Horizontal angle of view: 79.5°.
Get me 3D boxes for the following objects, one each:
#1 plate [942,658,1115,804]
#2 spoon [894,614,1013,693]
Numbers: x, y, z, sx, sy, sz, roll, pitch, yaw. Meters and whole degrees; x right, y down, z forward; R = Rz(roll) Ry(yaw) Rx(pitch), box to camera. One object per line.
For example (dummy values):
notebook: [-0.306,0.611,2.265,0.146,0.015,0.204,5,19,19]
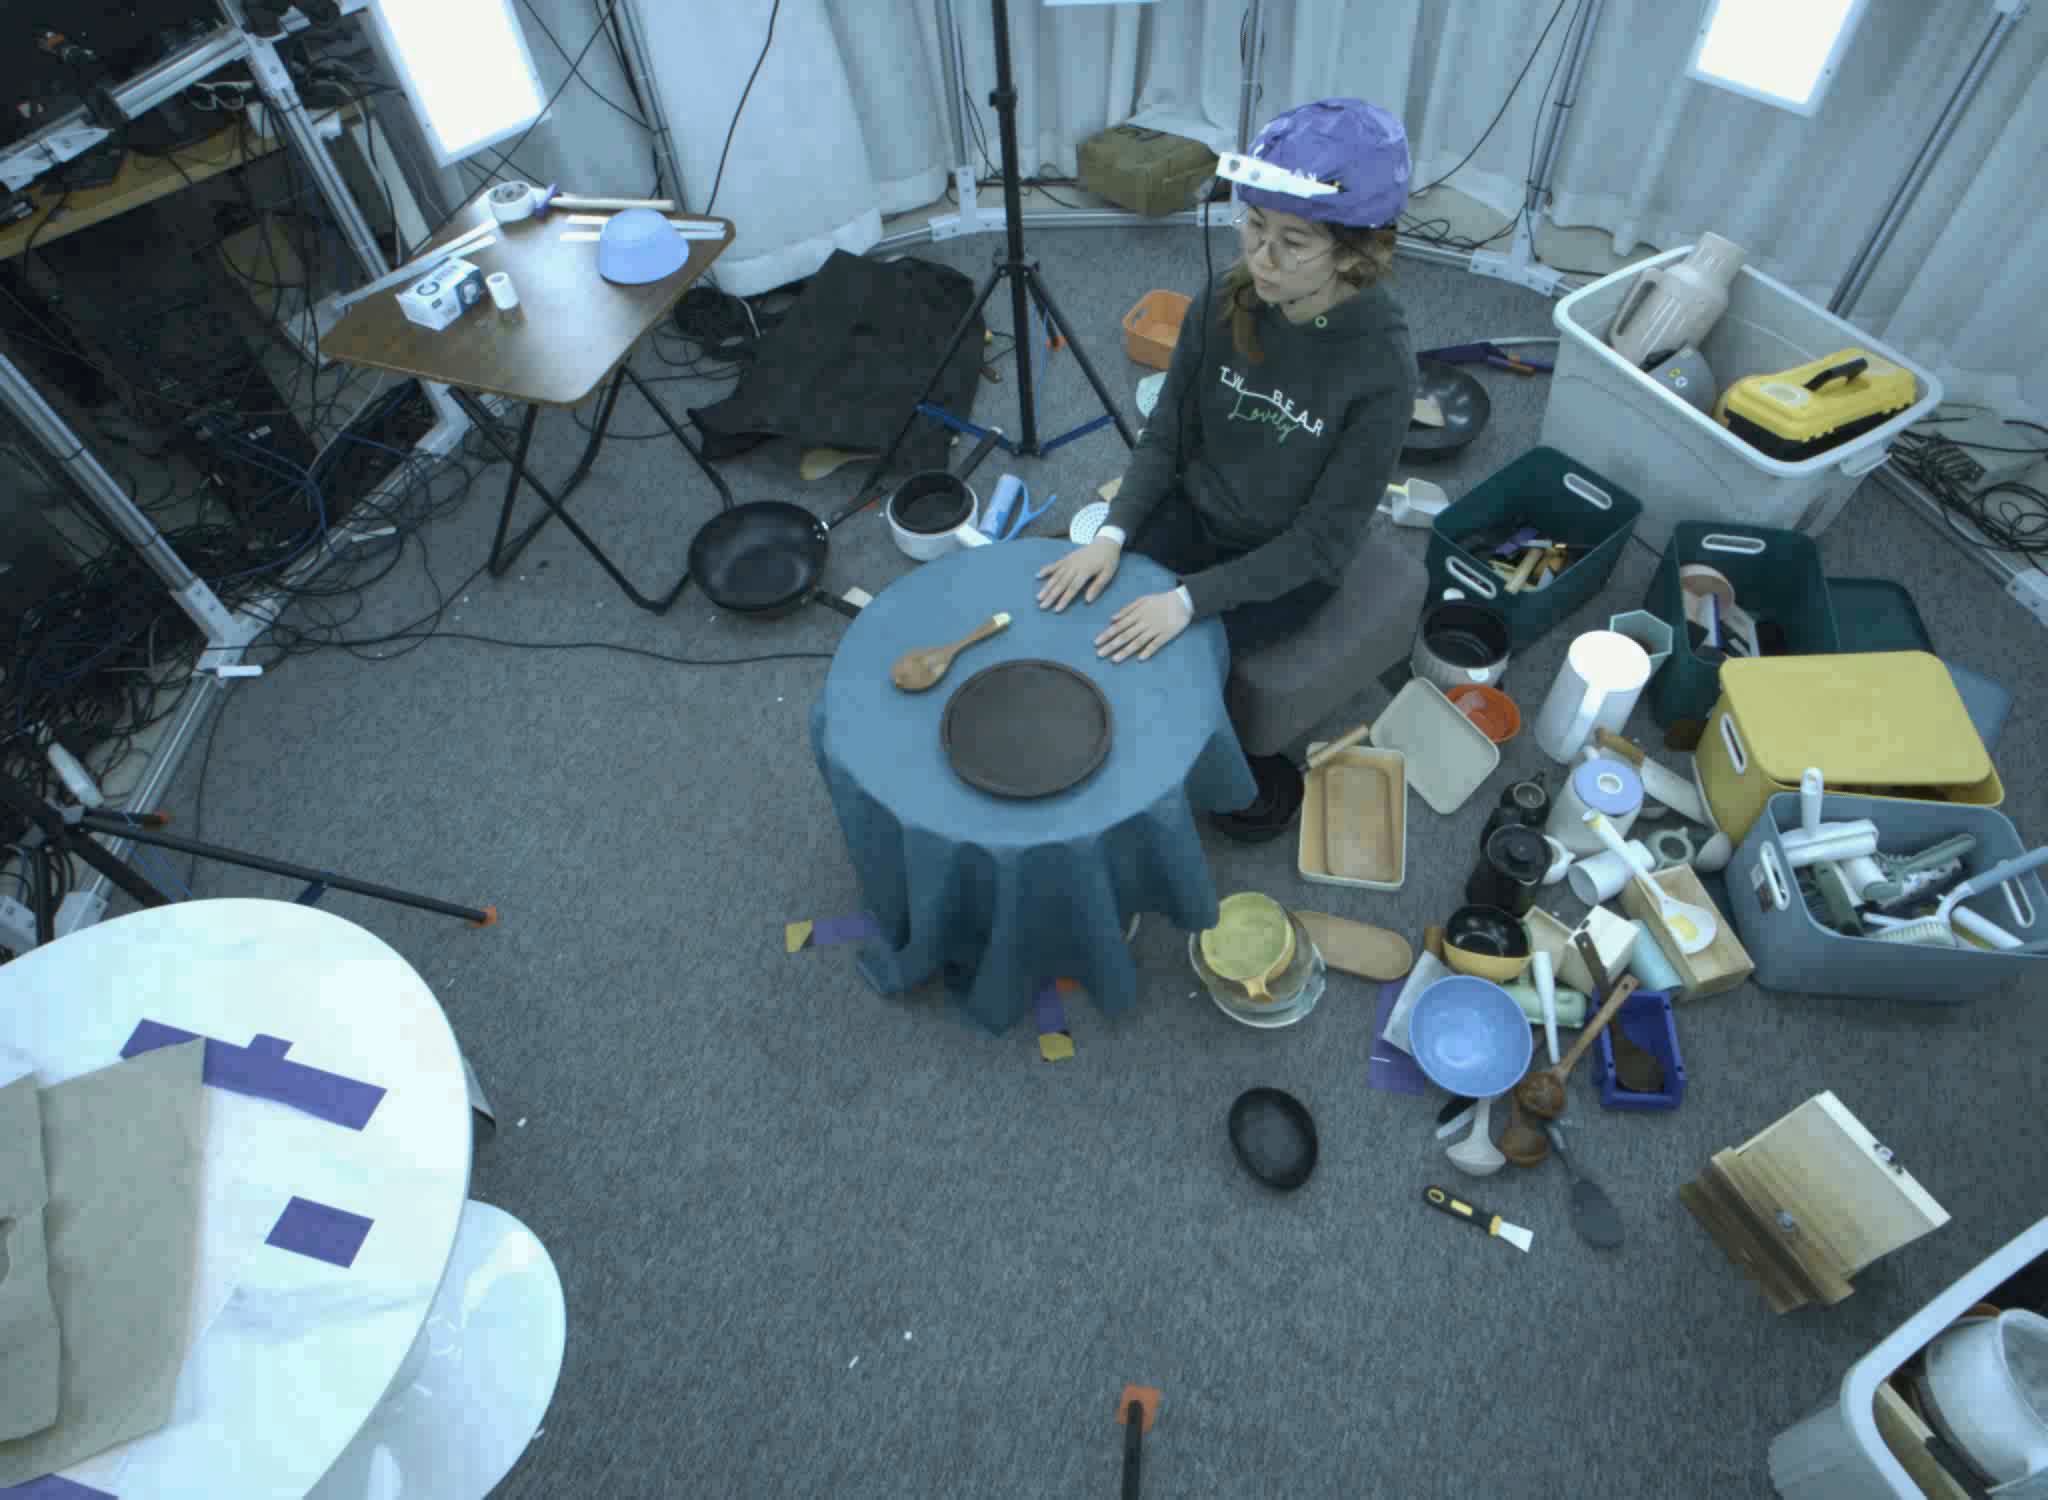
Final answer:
plate: [0.006,-0.027,1.803,0.254,0.029,0.252,0,56,2]
spoon: [-0.105,-0.150,1.896,0.217,0.017,0.074,-34,60,-20]
